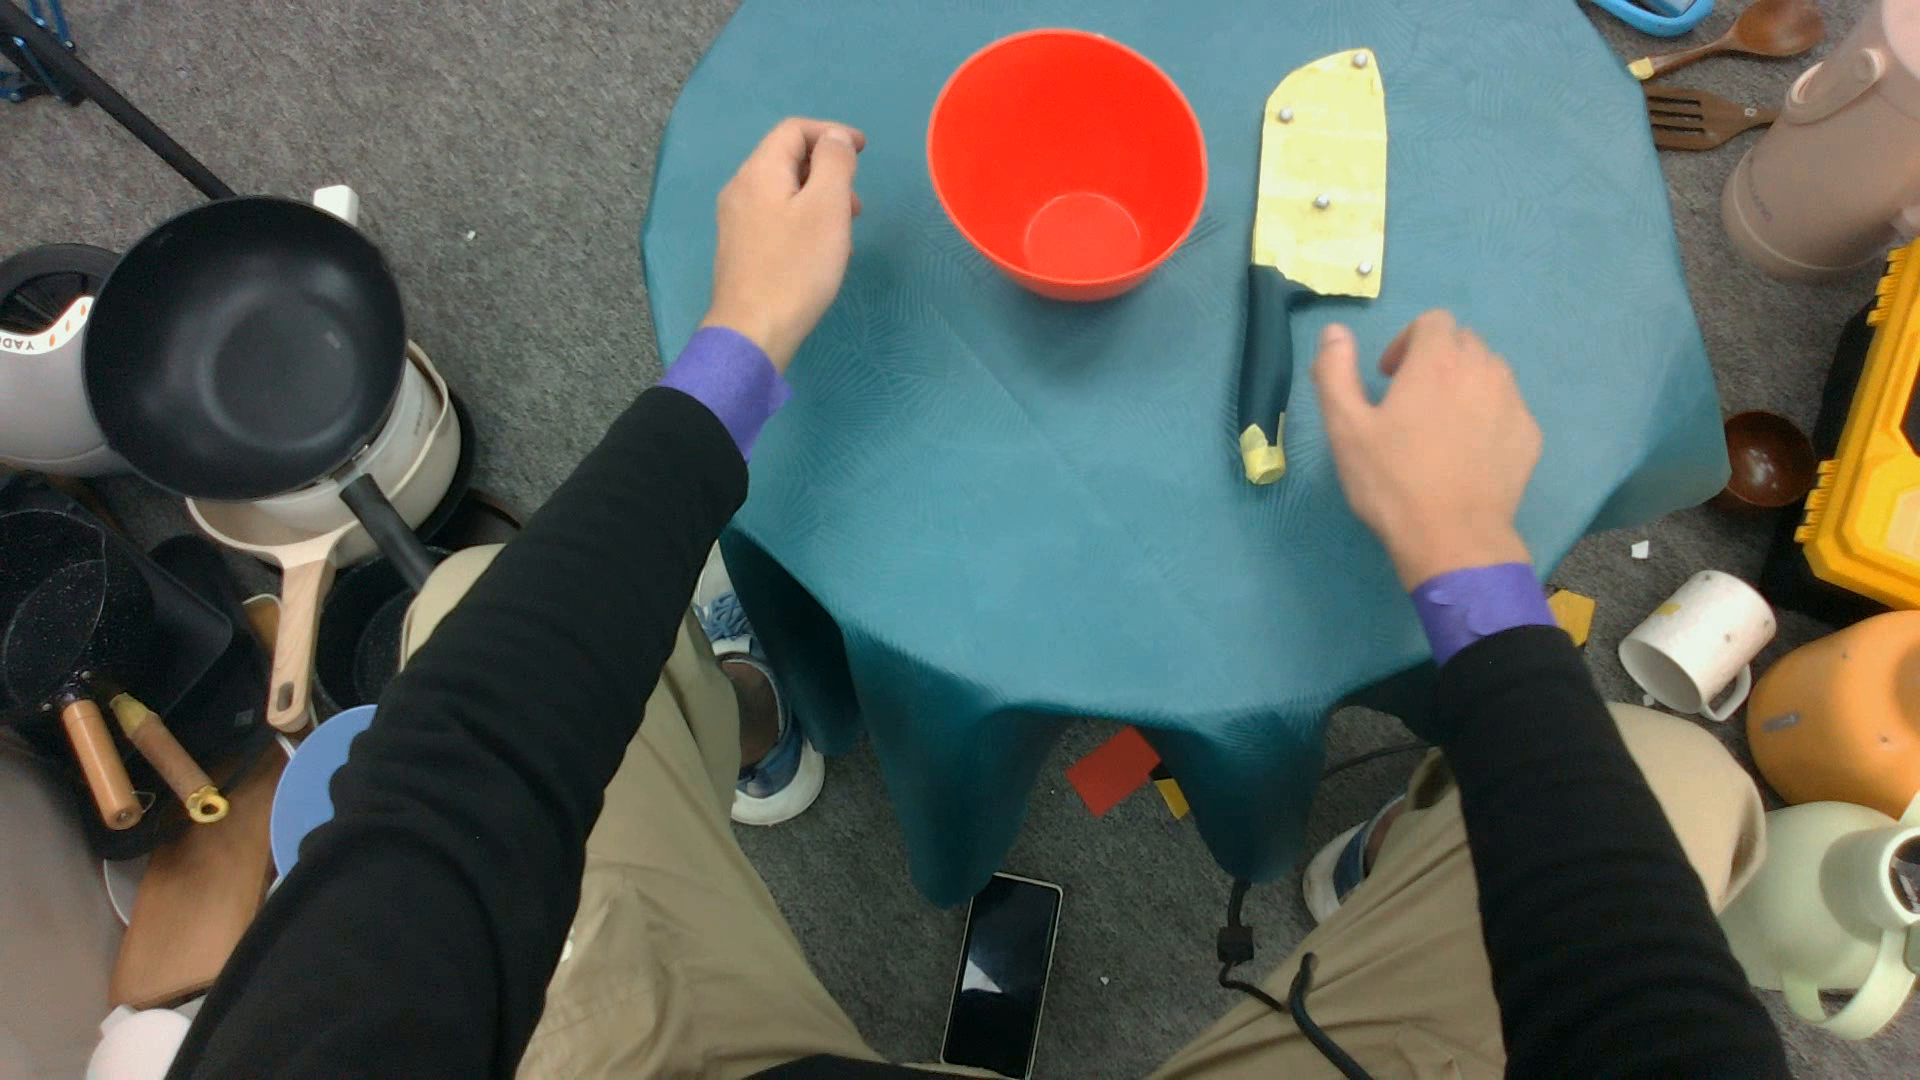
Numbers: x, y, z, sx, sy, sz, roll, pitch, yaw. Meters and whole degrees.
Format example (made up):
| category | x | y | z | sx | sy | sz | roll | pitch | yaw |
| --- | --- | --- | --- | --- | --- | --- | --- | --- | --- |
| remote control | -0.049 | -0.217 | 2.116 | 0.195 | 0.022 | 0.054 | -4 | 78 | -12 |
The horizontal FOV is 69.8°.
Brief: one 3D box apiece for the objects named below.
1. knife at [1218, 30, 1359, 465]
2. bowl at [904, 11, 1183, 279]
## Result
| category | x | y | z | sx | sy | sz | roll | pitch | yaw |
| --- | --- | --- | --- | --- | --- | --- | --- | --- | --- |
| knife | 0.188 | -0.176 | 0.794 | 0.081 | 0.027 | 0.290 | 9 | 72 | 6 |
| bowl | 0.046 | -0.202 | 0.761 | 0.148 | 0.104 | 0.148 | 0 | 71 | 1 |
